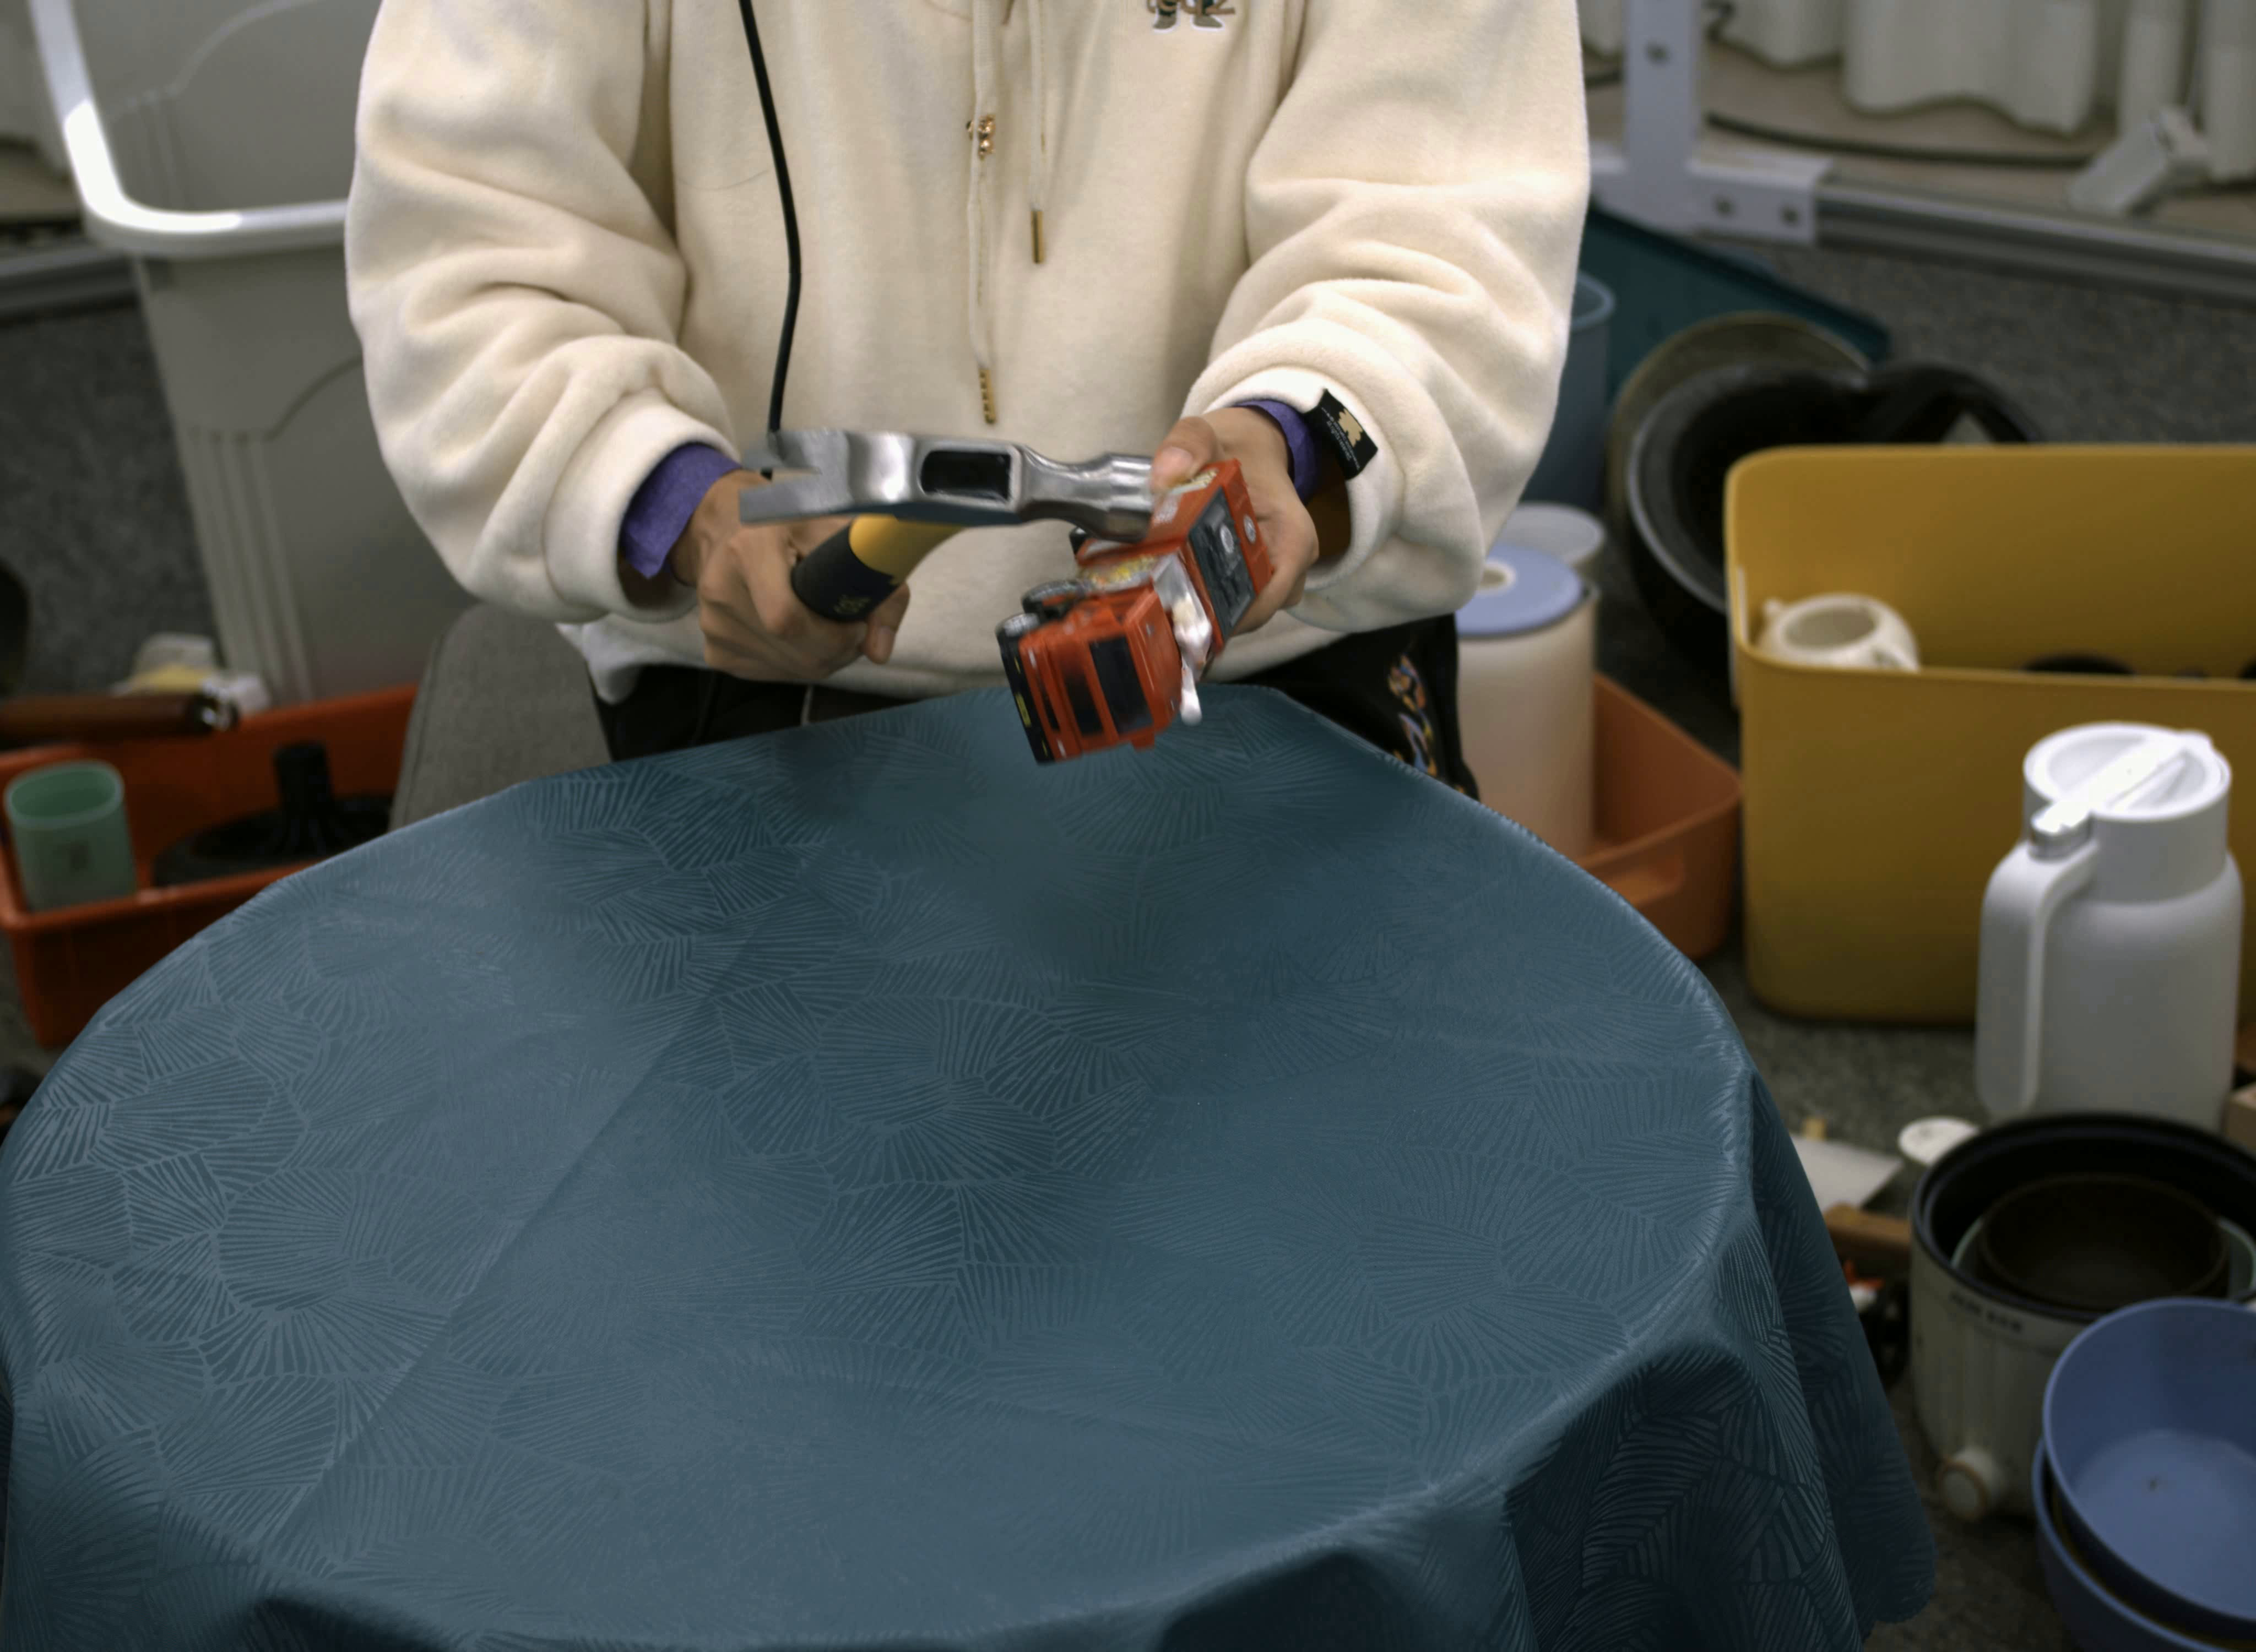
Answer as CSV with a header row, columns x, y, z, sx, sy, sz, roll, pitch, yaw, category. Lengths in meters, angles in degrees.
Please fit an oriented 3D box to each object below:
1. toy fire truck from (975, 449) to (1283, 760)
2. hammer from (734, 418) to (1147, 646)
x,y,z,sx,sy,sz,roll,pitch,yaw,category
0.004,-0.075,1.887,0.069,0.054,0.170,-12,19,20,toy fire truck
-0.093,-0.102,2.012,0.131,0.032,0.336,6,-8,-12,hammer
